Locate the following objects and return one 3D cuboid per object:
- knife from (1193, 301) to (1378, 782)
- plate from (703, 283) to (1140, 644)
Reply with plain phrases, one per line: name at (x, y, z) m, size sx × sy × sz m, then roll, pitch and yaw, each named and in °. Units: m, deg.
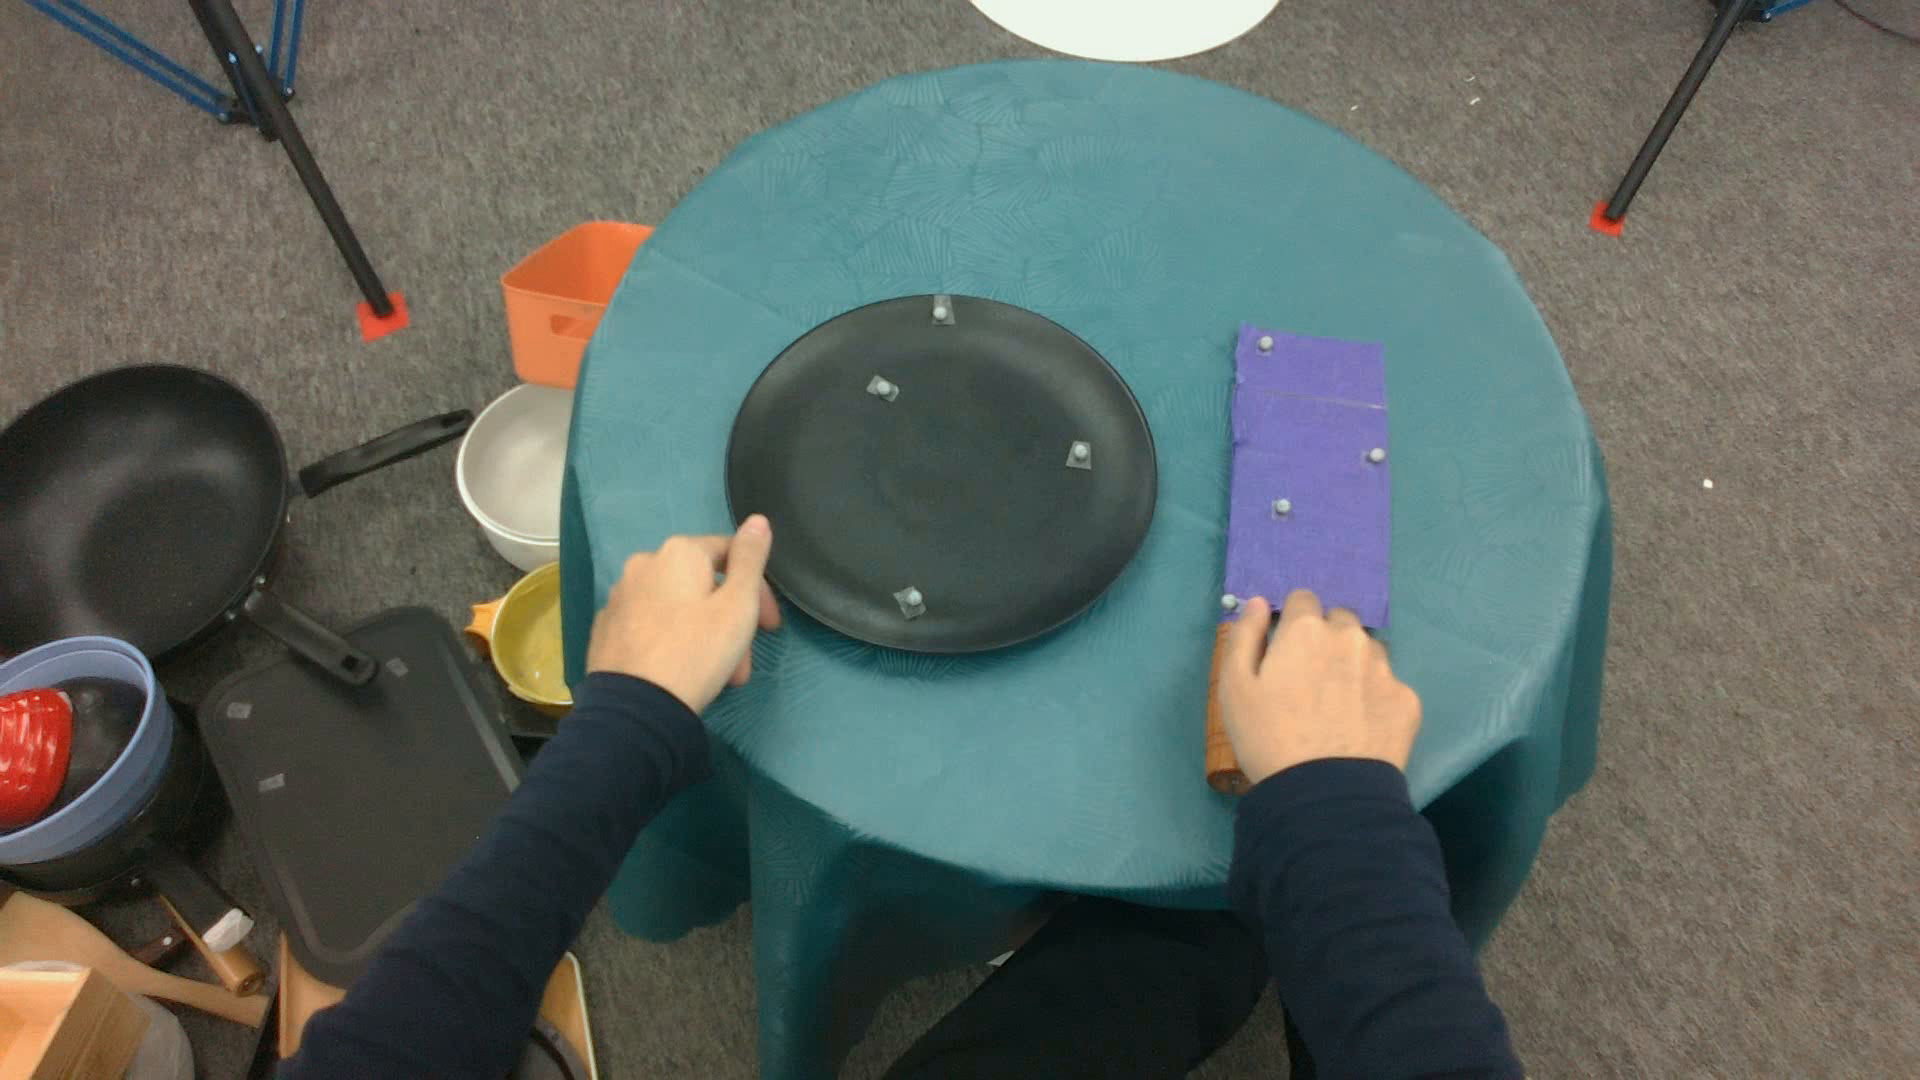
knife at (0.181, -0.012, 0.766) m, size 0.104 × 0.032 × 0.316 m, roll 8°, pitch 58°, yaw 1°
plate at (-0.021, -0.047, 0.776) m, size 0.244 × 0.023 × 0.245 m, roll 2°, pitch 58°, yaw -2°
